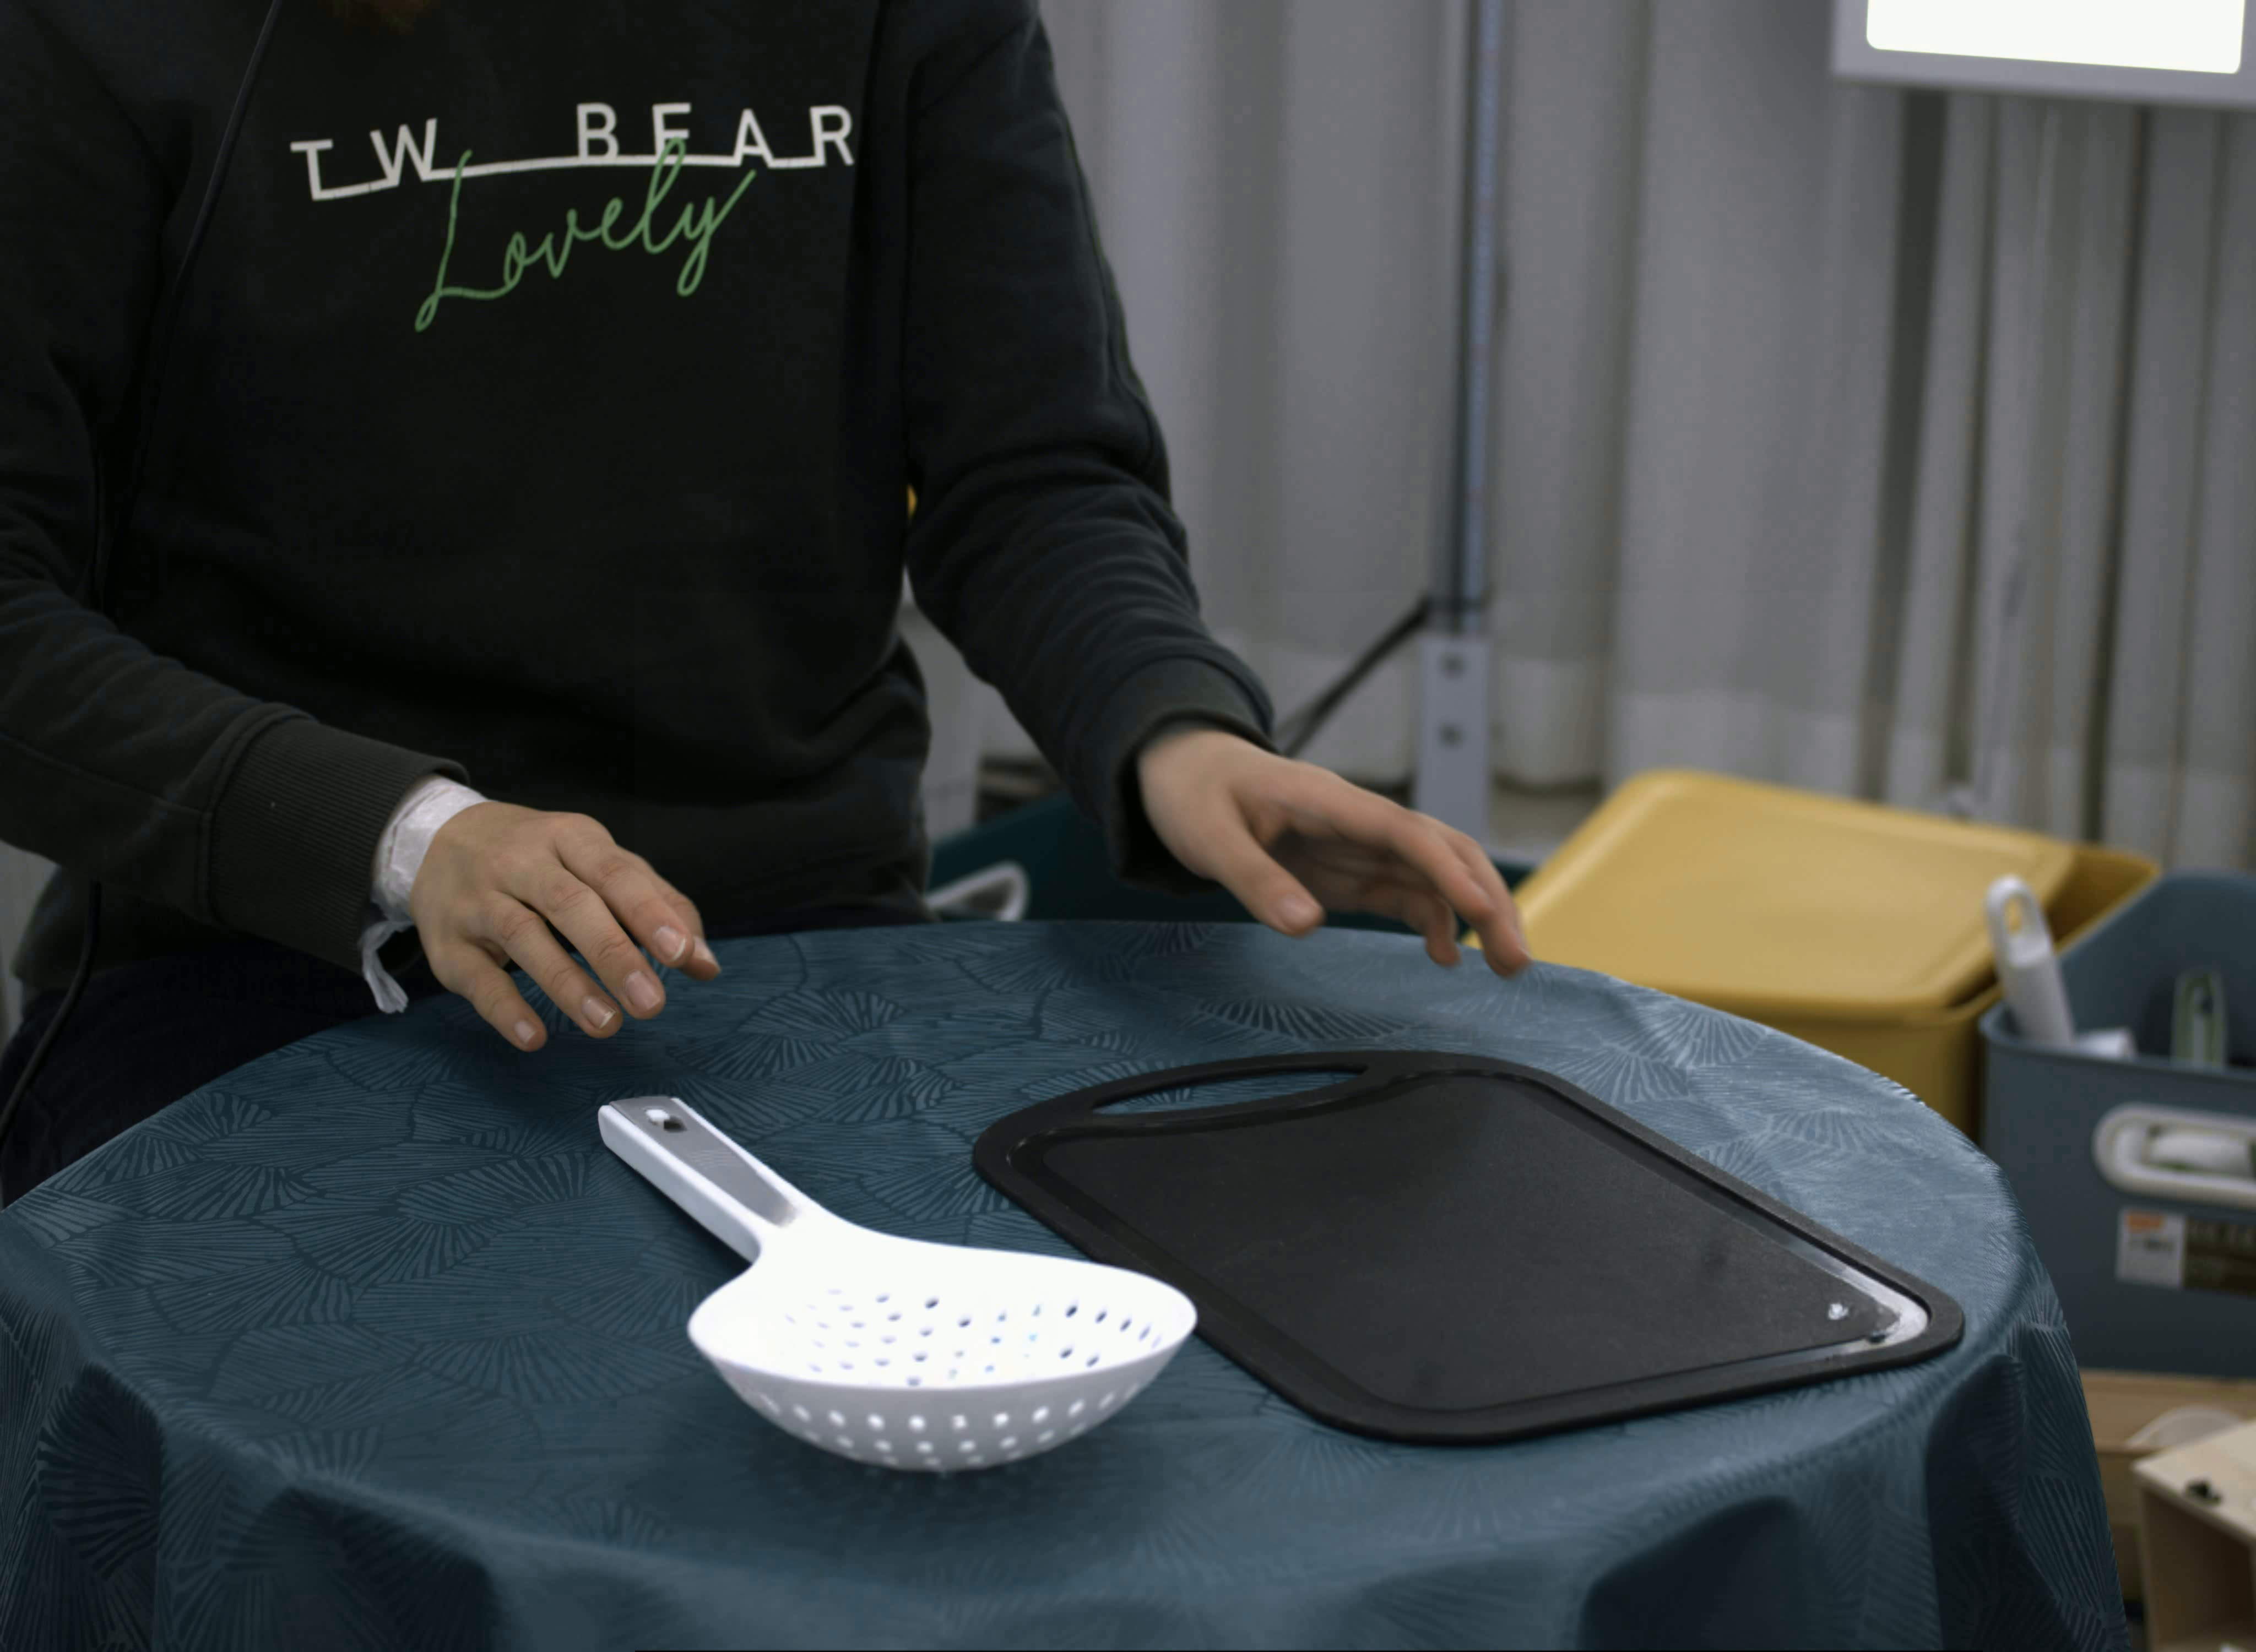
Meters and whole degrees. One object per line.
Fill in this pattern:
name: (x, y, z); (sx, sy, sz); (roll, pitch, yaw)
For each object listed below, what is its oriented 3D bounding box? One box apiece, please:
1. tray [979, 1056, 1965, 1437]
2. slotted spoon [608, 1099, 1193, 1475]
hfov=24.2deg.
tray: (0.093, 0.119, 1.594); (0.212, 0.010, 0.321); (-6, 17, -25)
slotted spoon: (-0.090, 0.122, 1.506); (0.136, 0.046, 0.346); (-3, 15, -22)
